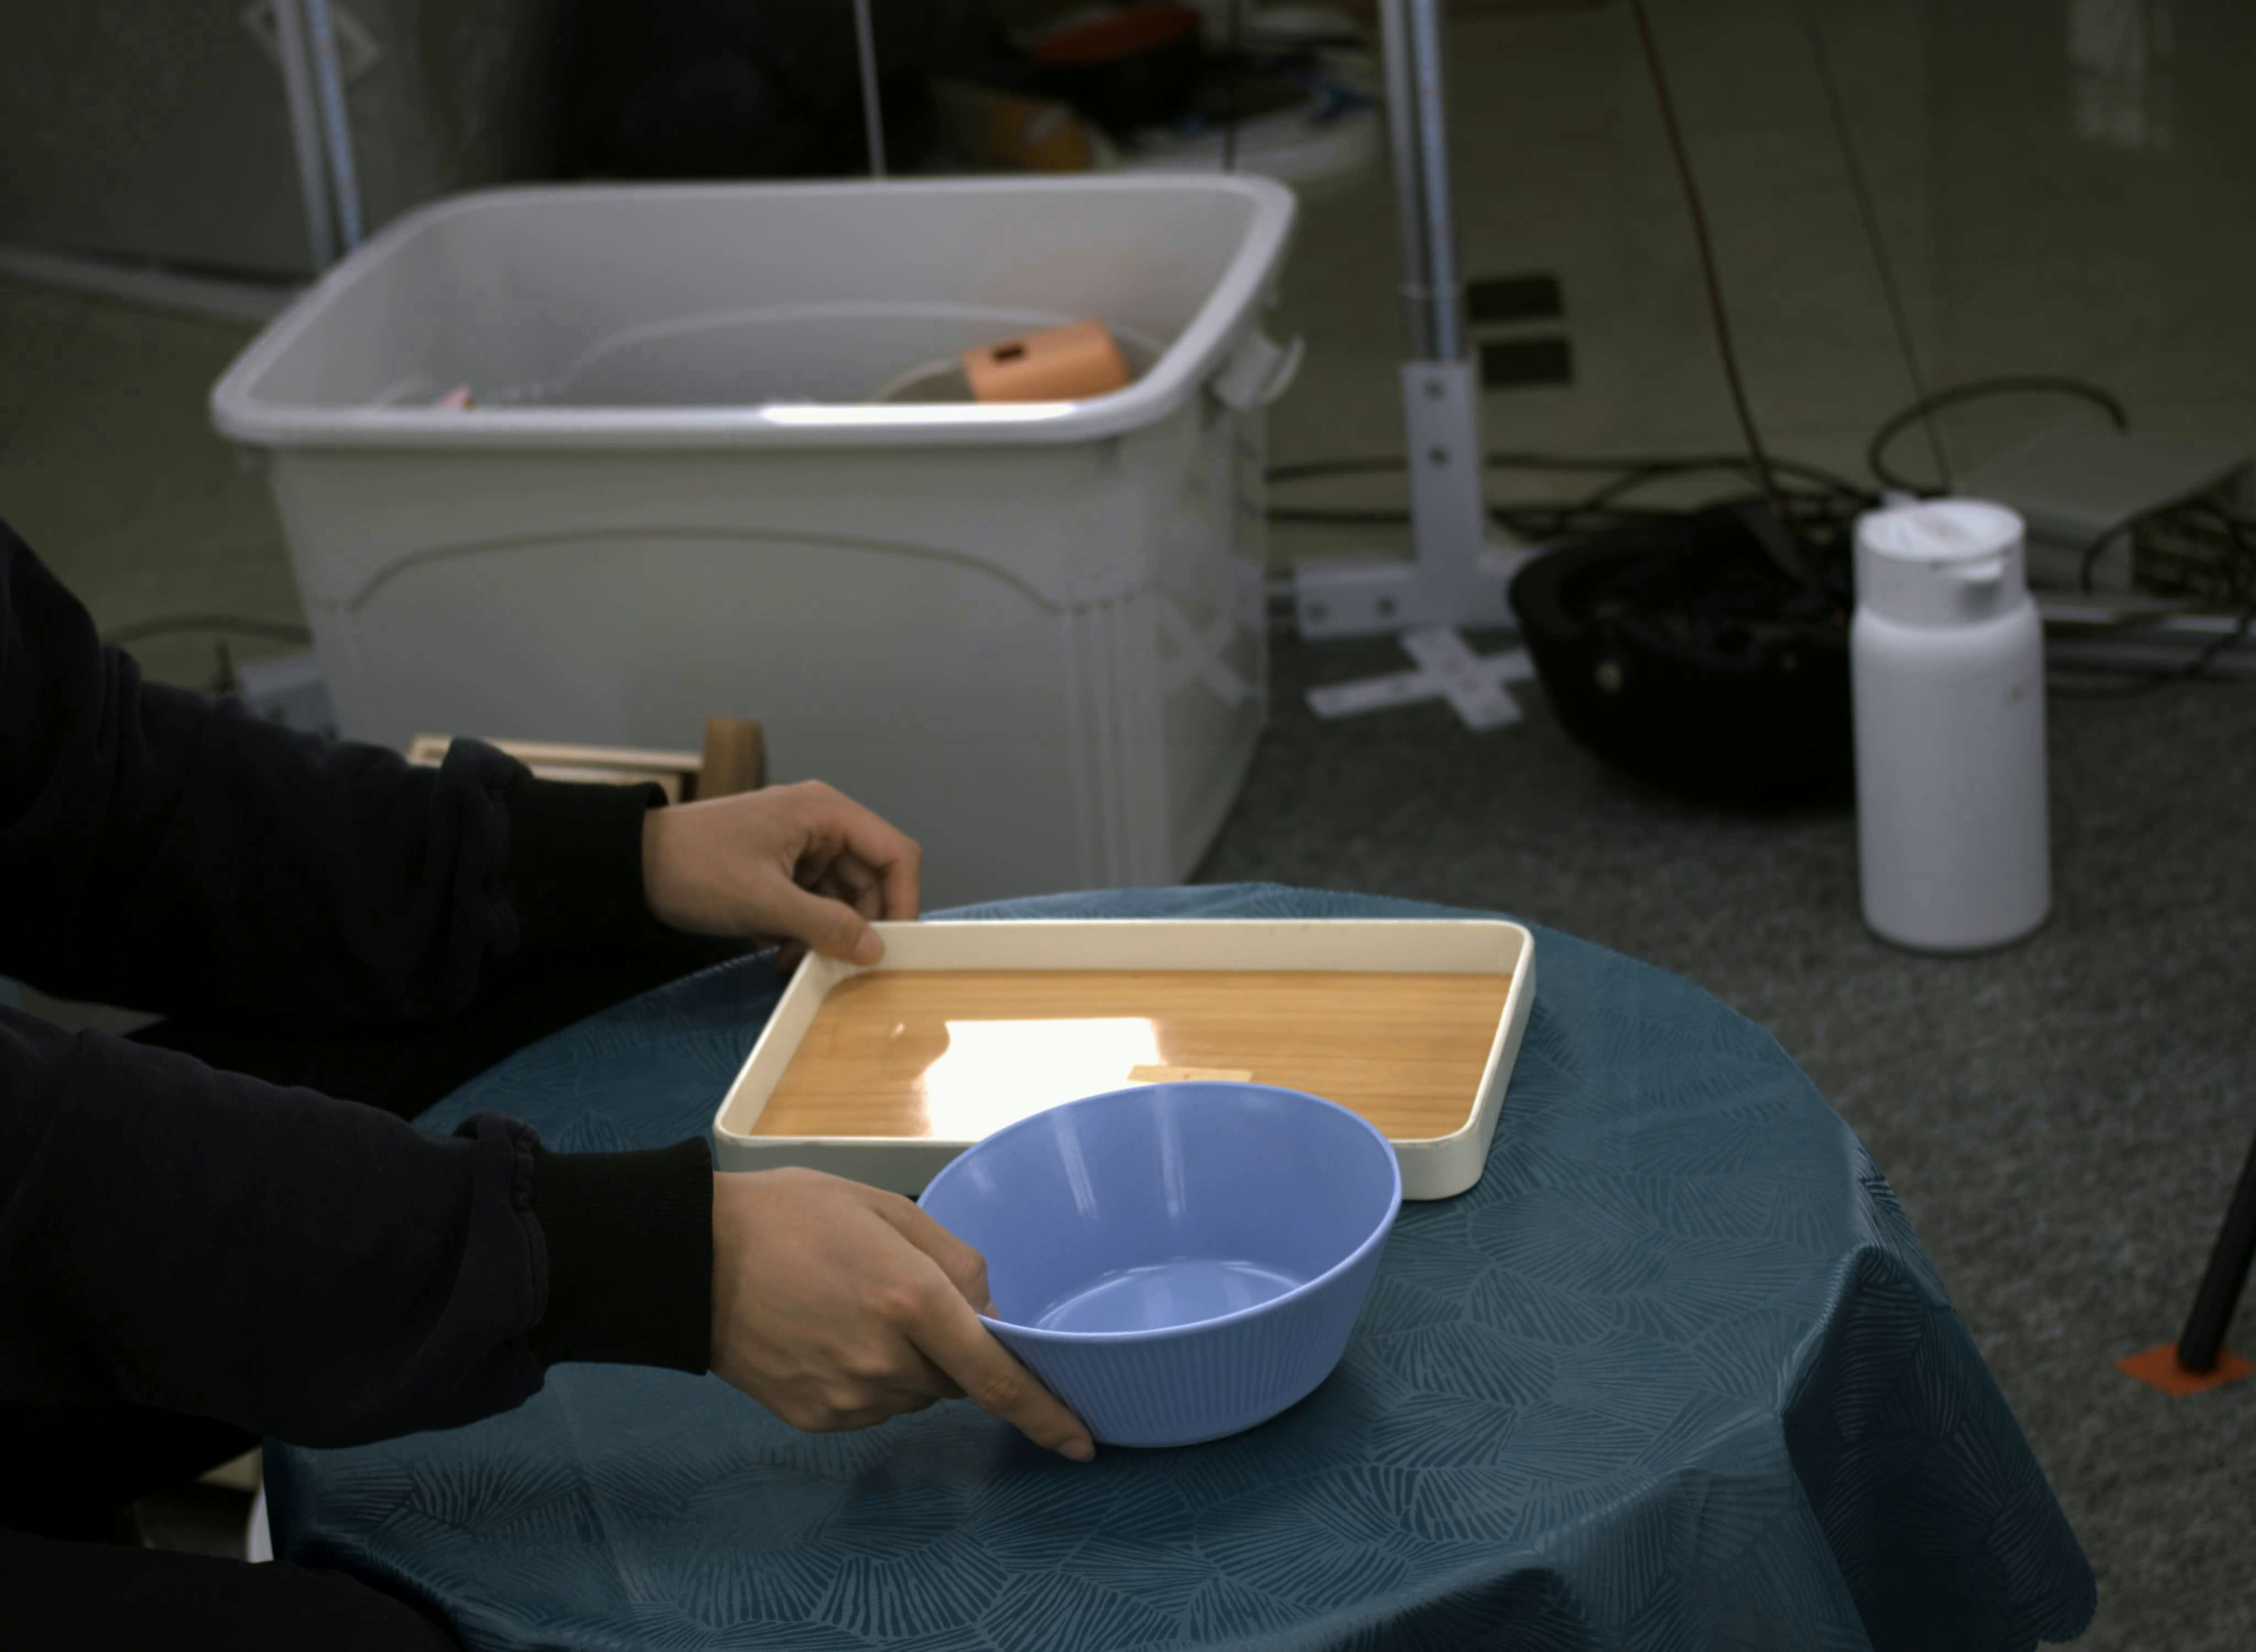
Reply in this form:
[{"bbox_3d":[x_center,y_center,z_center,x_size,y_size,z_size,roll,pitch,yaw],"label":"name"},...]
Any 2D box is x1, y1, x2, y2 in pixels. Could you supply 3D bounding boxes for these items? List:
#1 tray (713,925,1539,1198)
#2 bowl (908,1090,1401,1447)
[{"bbox_3d":[0.002,0.091,2.224,0.300,0.028,0.189,0,25,13],"label":"tray"},{"bbox_3d":[0.013,0.163,2.009,0.176,0.071,0.173,-6,26,3],"label":"bowl"}]
